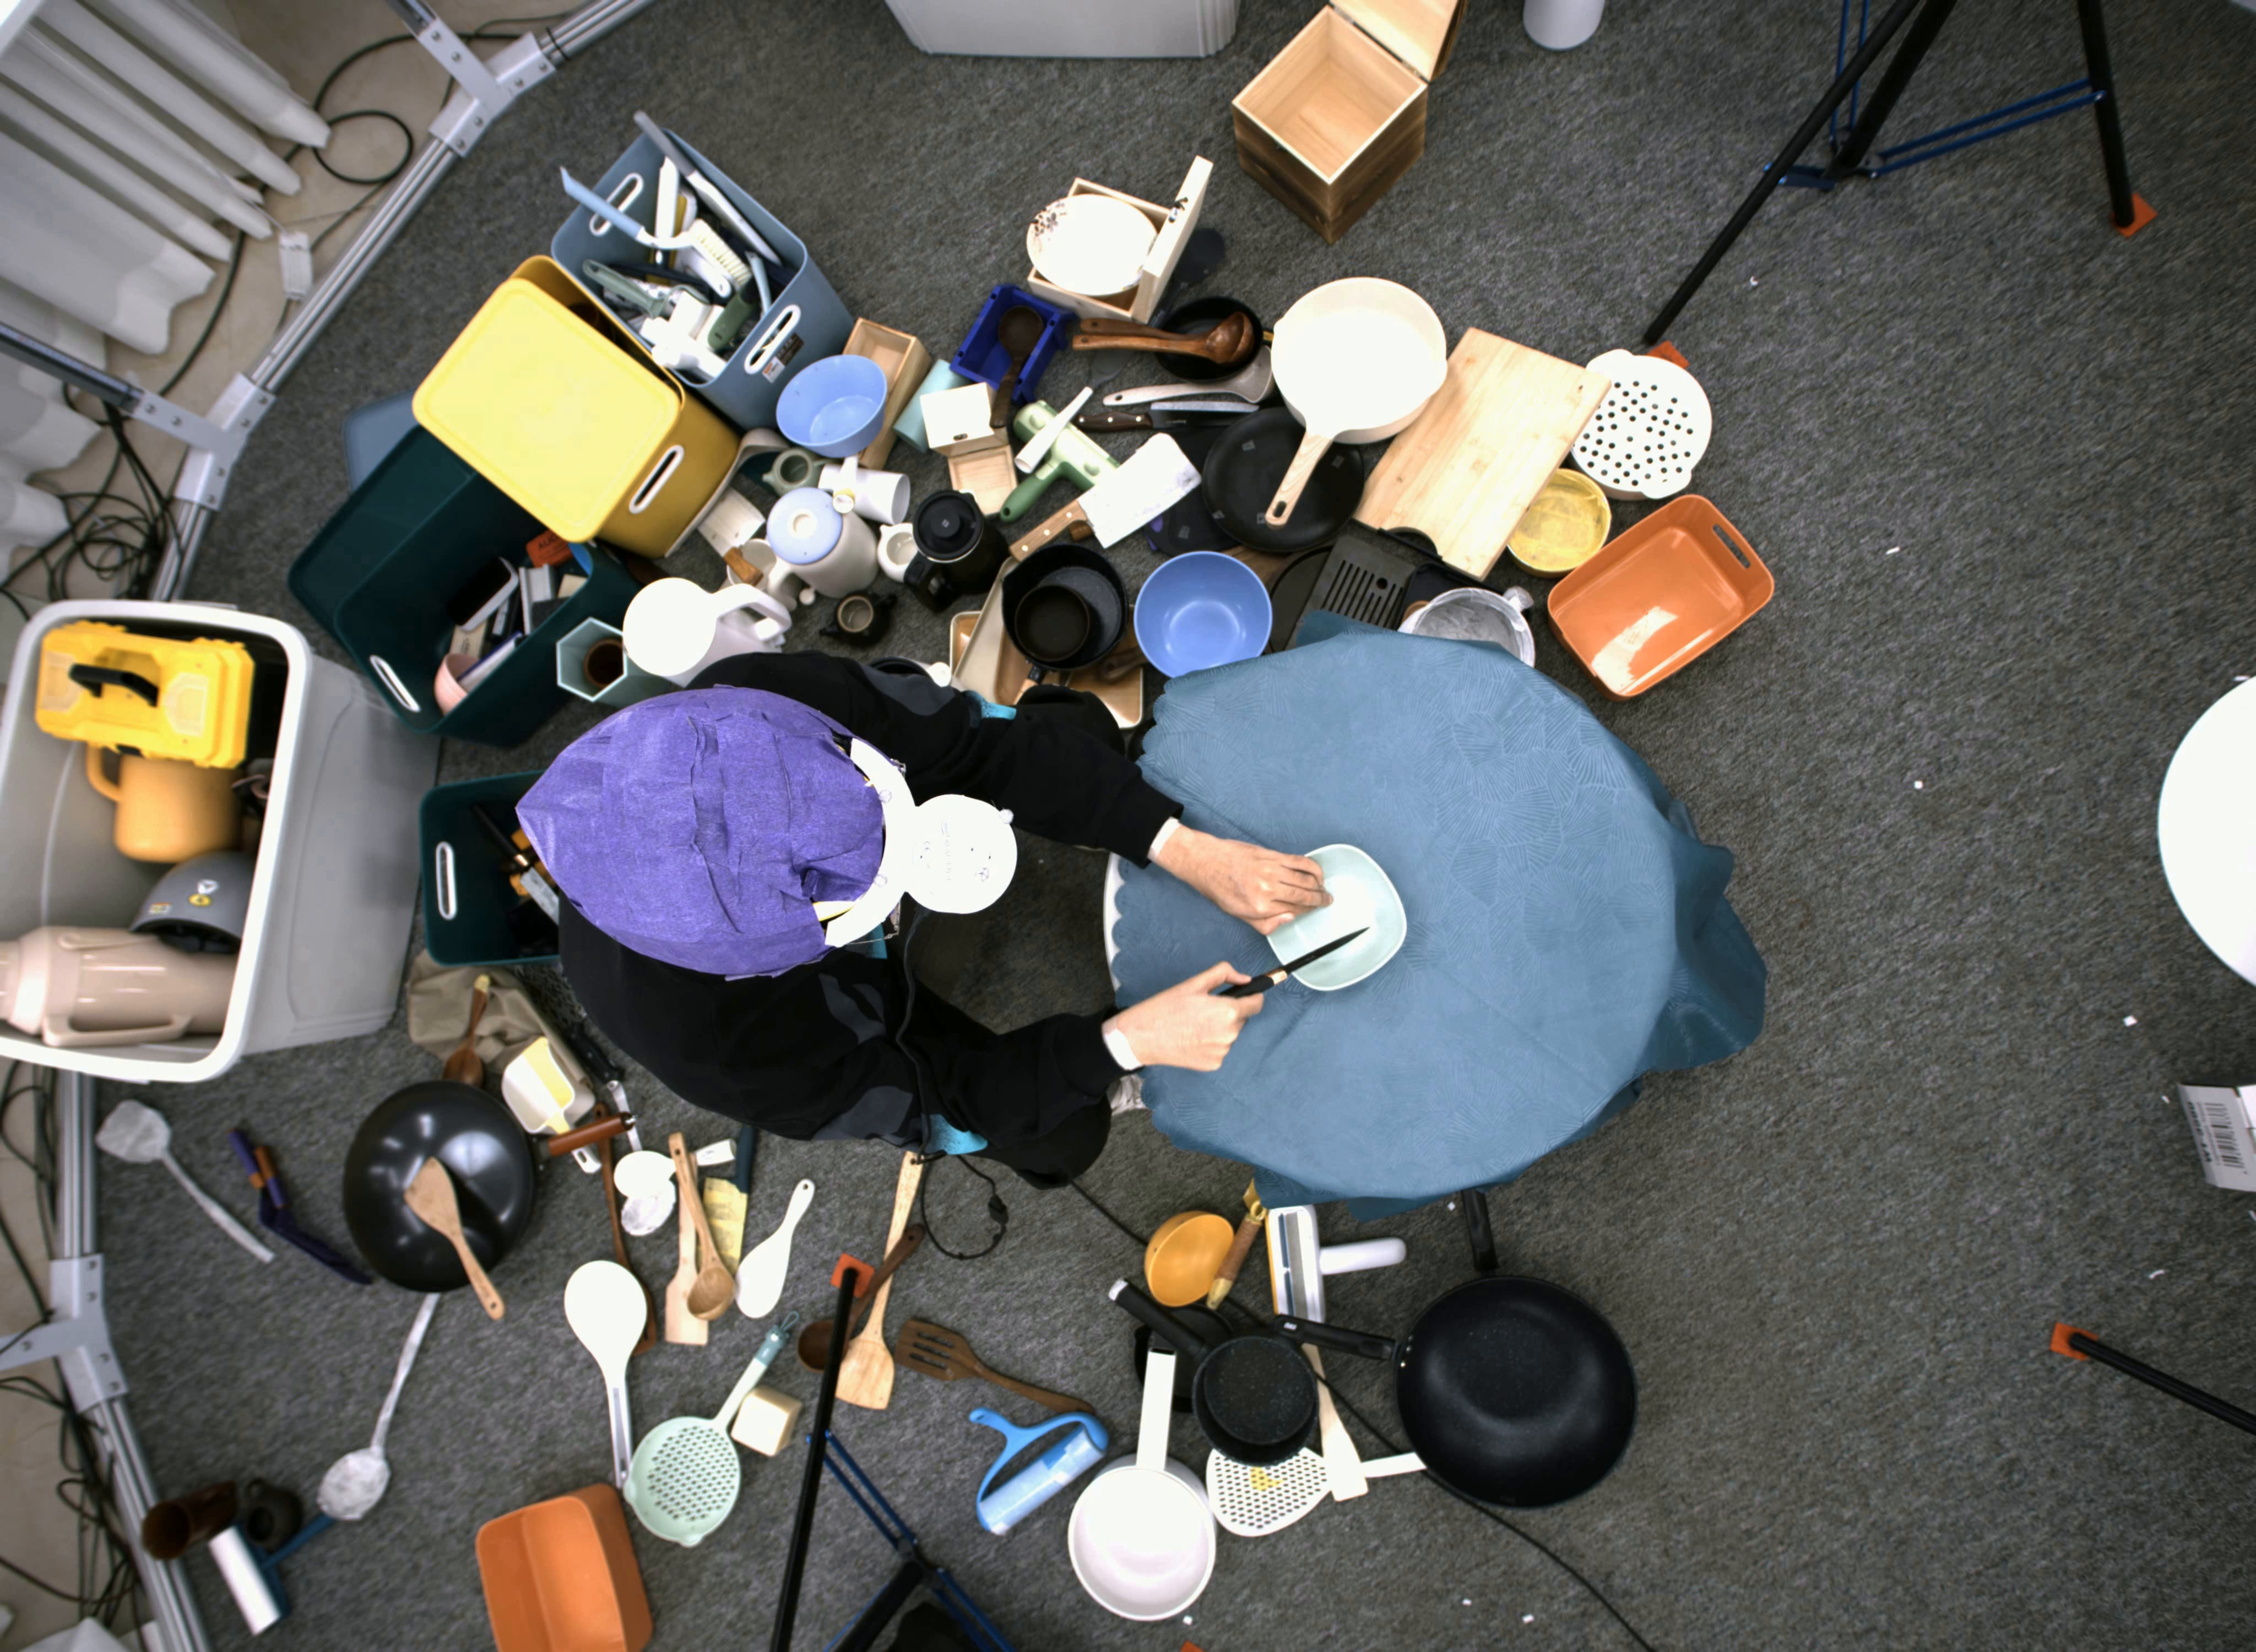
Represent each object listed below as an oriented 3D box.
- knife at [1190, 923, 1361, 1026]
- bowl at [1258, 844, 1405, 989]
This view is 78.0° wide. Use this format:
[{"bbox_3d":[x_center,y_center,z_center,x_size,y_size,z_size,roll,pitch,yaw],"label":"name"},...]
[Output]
[{"bbox_3d":[0.152,0.143,1.382,0.222,0.026,0.017,-25,103,-24],"label":"knife"},{"bbox_3d":[0.212,0.094,1.442,0.152,0.058,0.151,-1,88,10],"label":"bowl"}]
